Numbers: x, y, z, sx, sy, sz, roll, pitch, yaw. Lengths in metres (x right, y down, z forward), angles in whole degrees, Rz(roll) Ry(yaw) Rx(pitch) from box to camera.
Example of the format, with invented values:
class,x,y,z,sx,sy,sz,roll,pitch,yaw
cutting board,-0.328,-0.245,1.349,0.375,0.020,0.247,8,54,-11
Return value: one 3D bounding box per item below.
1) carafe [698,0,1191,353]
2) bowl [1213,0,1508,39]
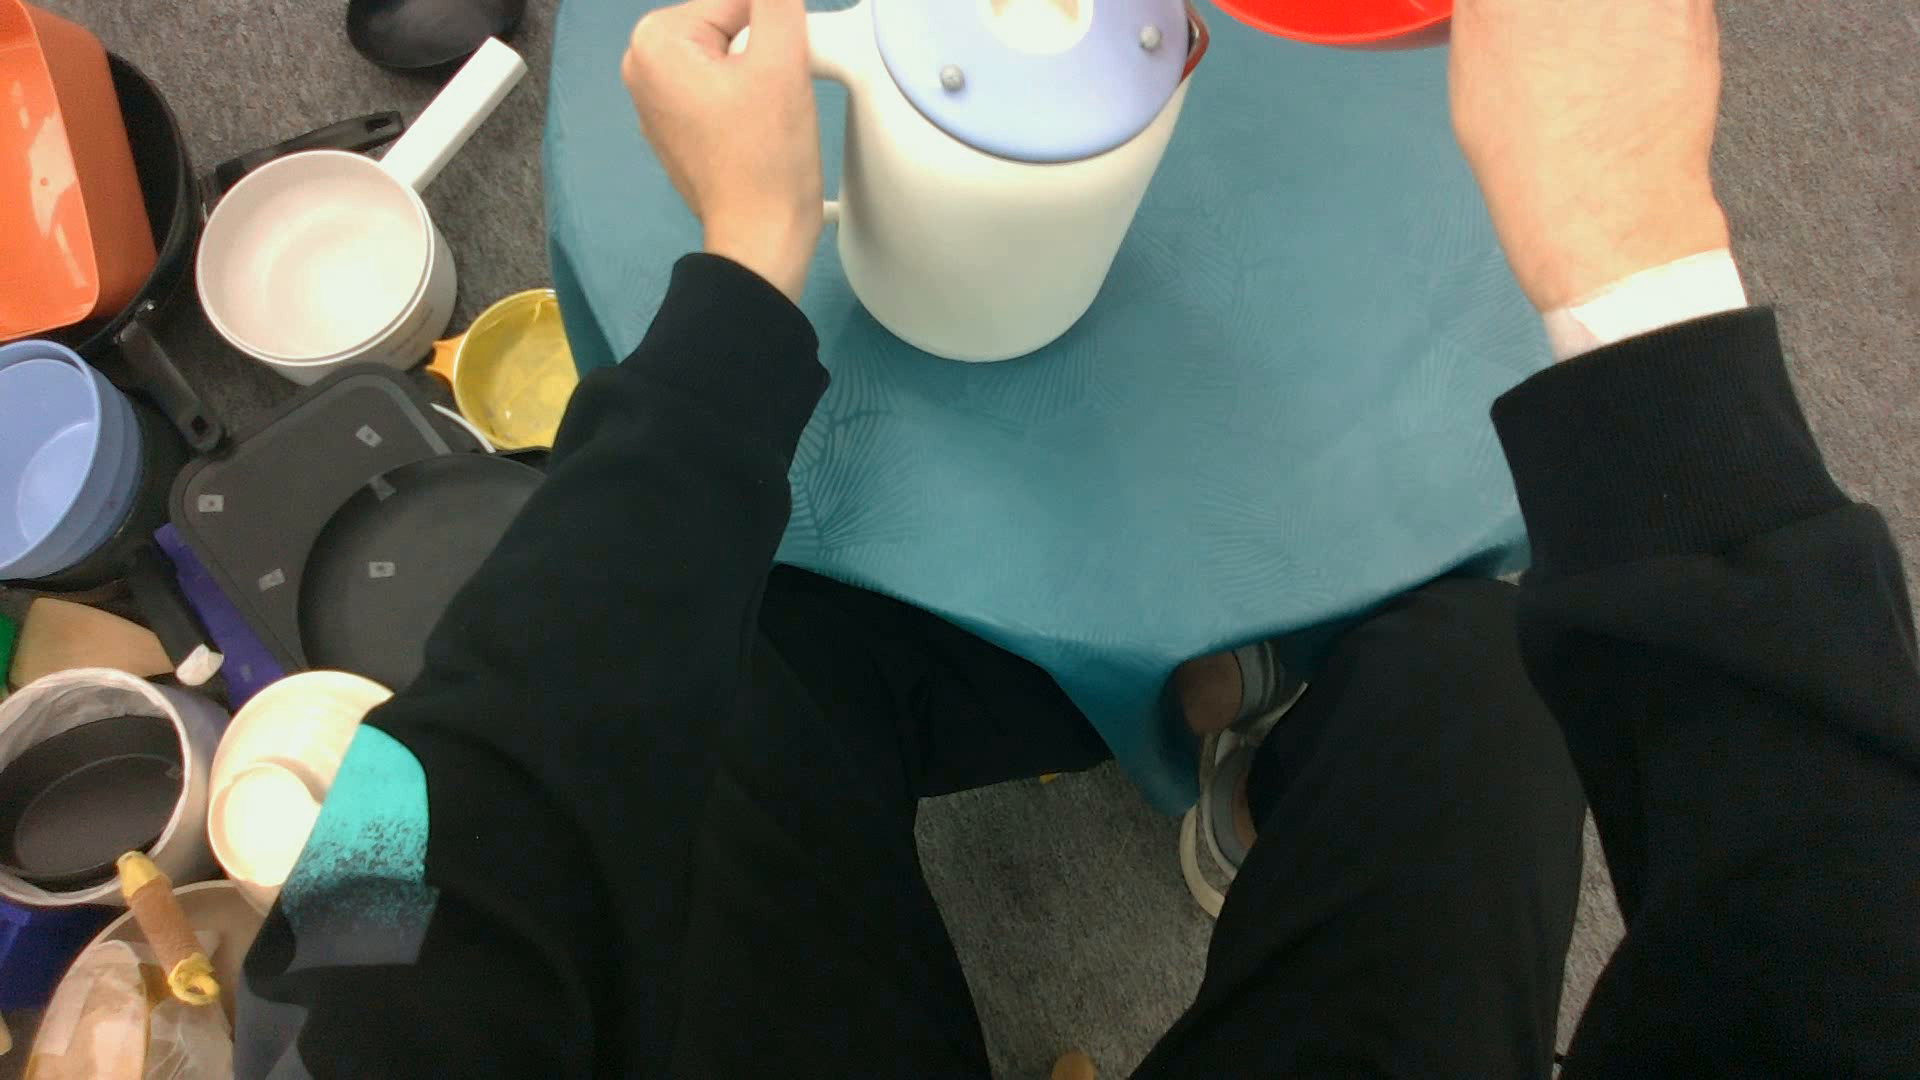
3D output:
class,x,y,z,sx,sy,sz,roll,pitch,yaw
carafe,-0.015,-0.172,0.584,0.191,0.182,0.132,-1,72,-7
bowl,0.148,-0.234,0.466,0.147,0.105,0.148,-3,85,38
